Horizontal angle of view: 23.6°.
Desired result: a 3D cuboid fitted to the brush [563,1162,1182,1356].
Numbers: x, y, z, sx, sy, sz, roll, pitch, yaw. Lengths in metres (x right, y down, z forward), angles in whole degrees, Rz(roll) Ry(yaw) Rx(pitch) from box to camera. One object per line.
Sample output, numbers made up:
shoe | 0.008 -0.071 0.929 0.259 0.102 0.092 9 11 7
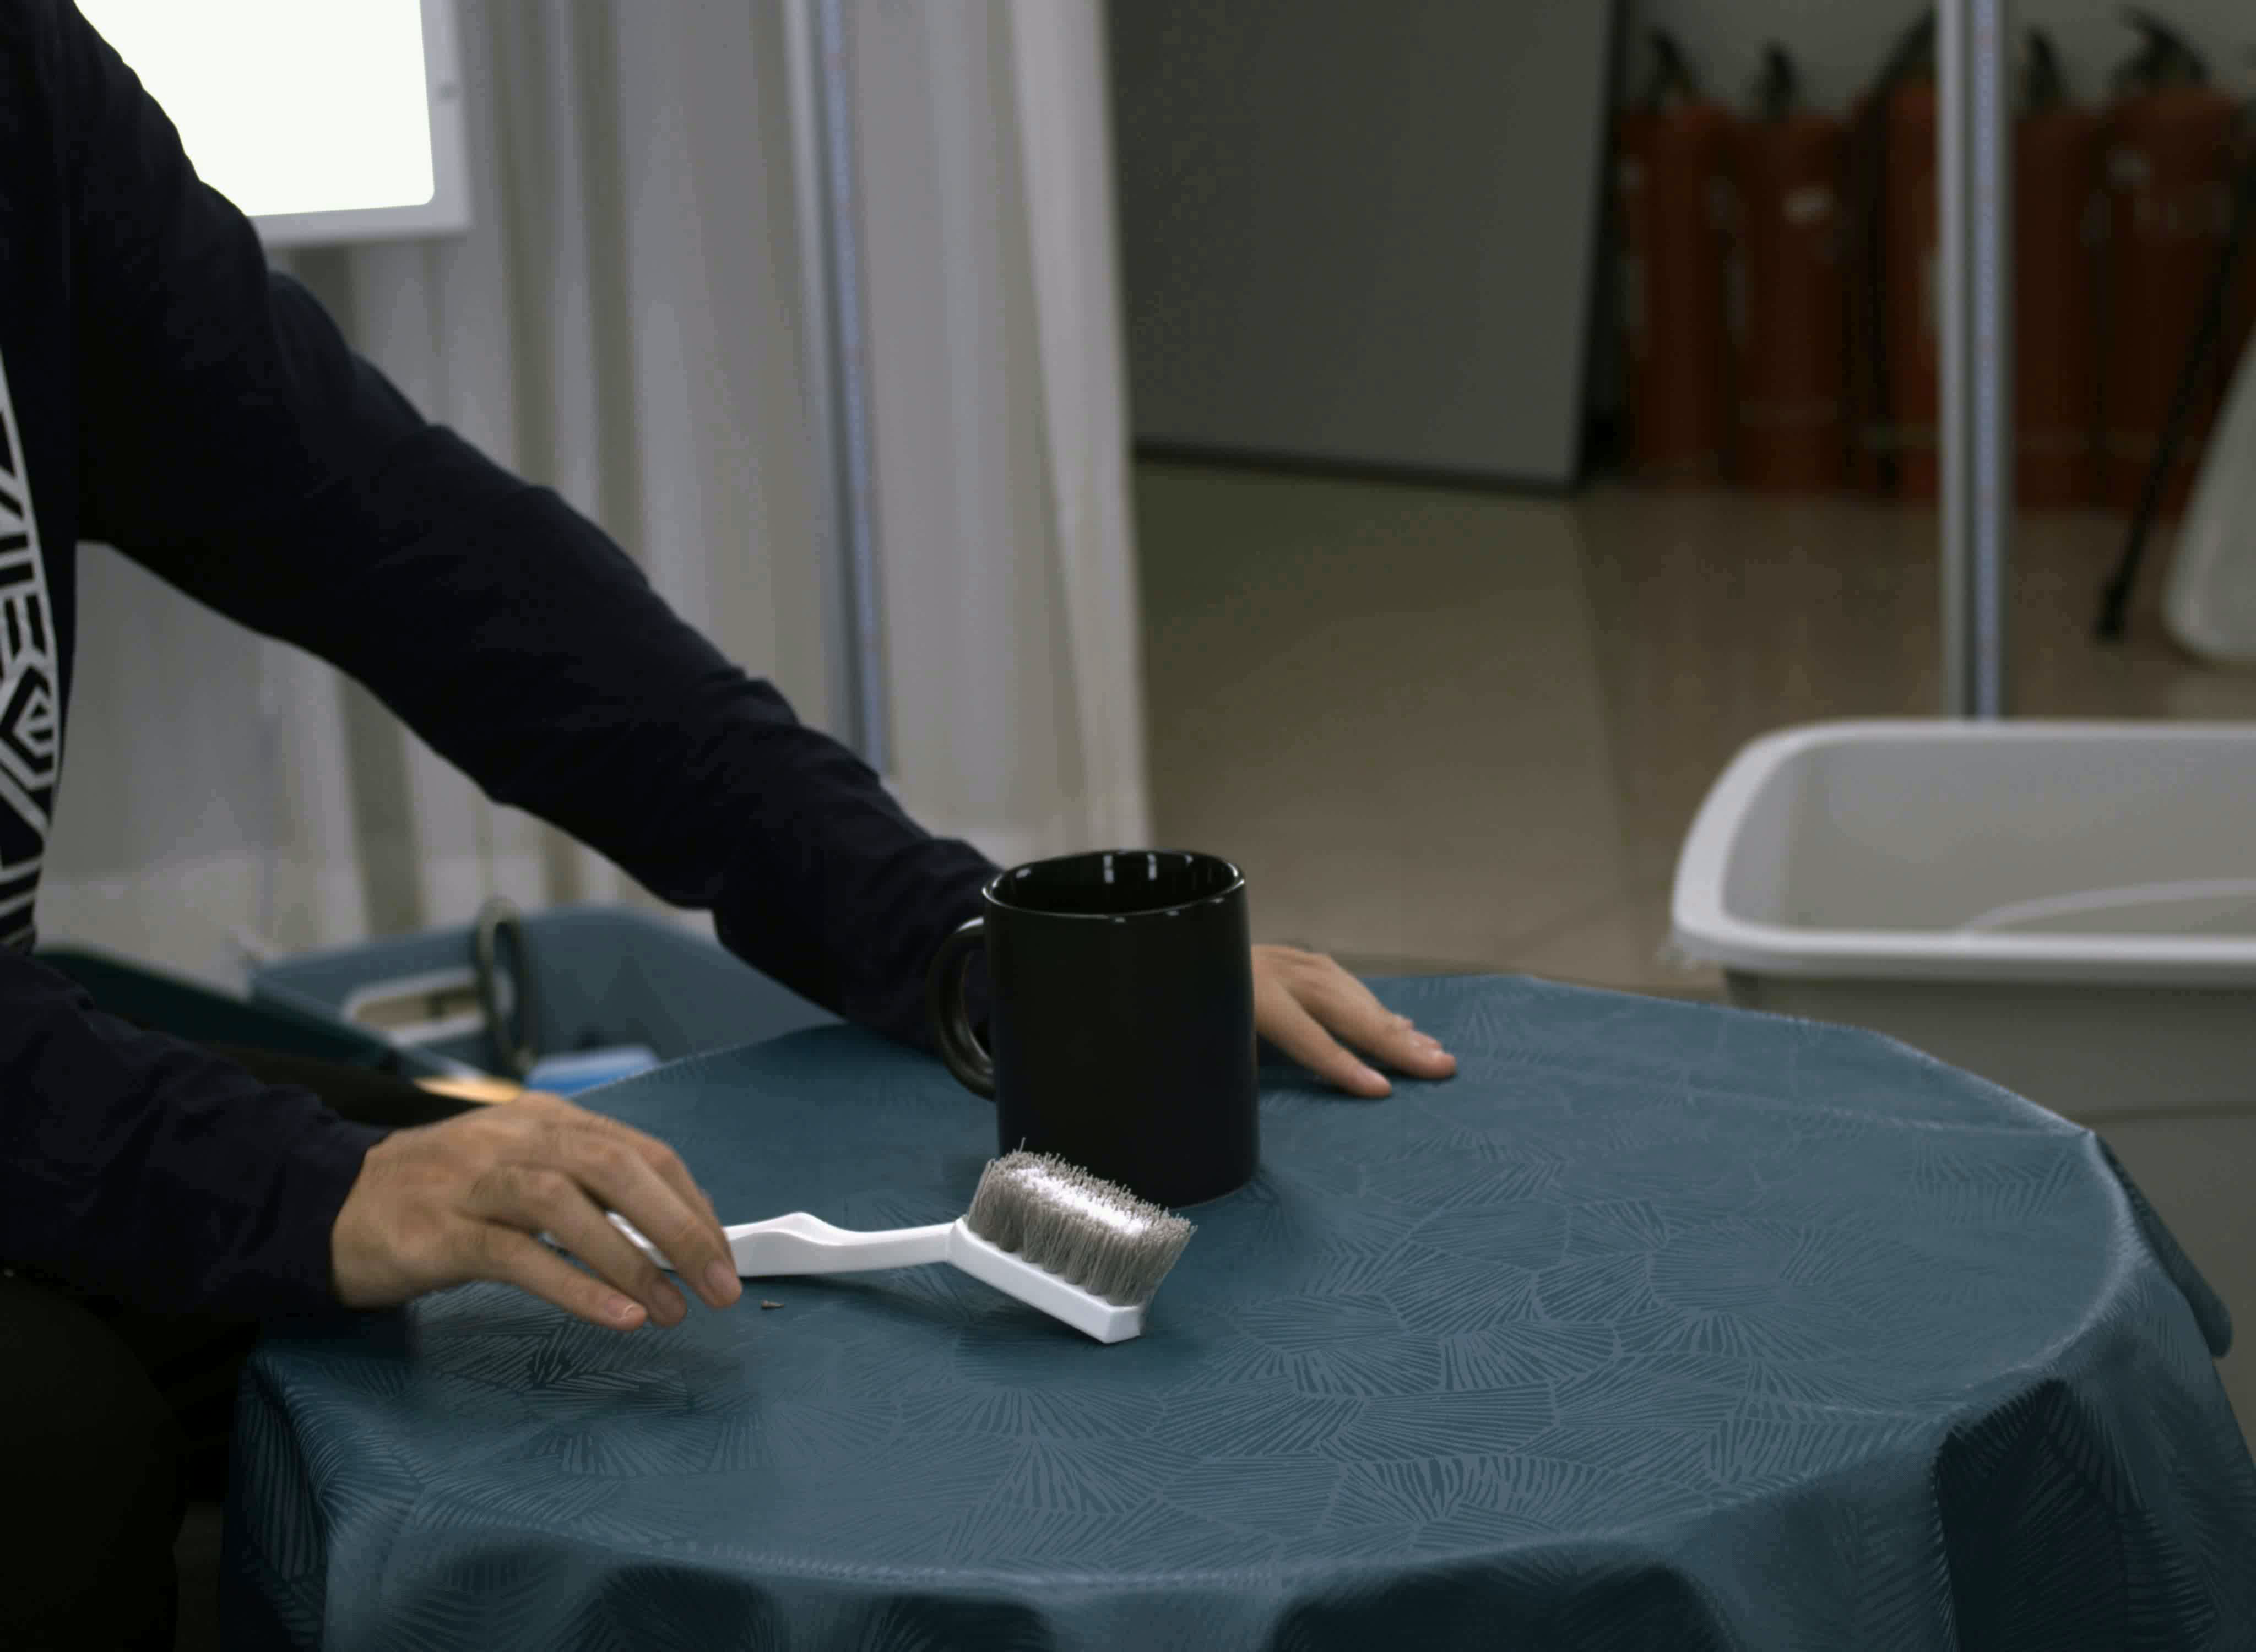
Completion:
brush | -0.086 0.124 1.694 0.245 0.051 0.034 6 21 37

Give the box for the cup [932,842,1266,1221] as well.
cup | -0.015 0.066 1.788 0.124 0.106 0.087 5 18 39
